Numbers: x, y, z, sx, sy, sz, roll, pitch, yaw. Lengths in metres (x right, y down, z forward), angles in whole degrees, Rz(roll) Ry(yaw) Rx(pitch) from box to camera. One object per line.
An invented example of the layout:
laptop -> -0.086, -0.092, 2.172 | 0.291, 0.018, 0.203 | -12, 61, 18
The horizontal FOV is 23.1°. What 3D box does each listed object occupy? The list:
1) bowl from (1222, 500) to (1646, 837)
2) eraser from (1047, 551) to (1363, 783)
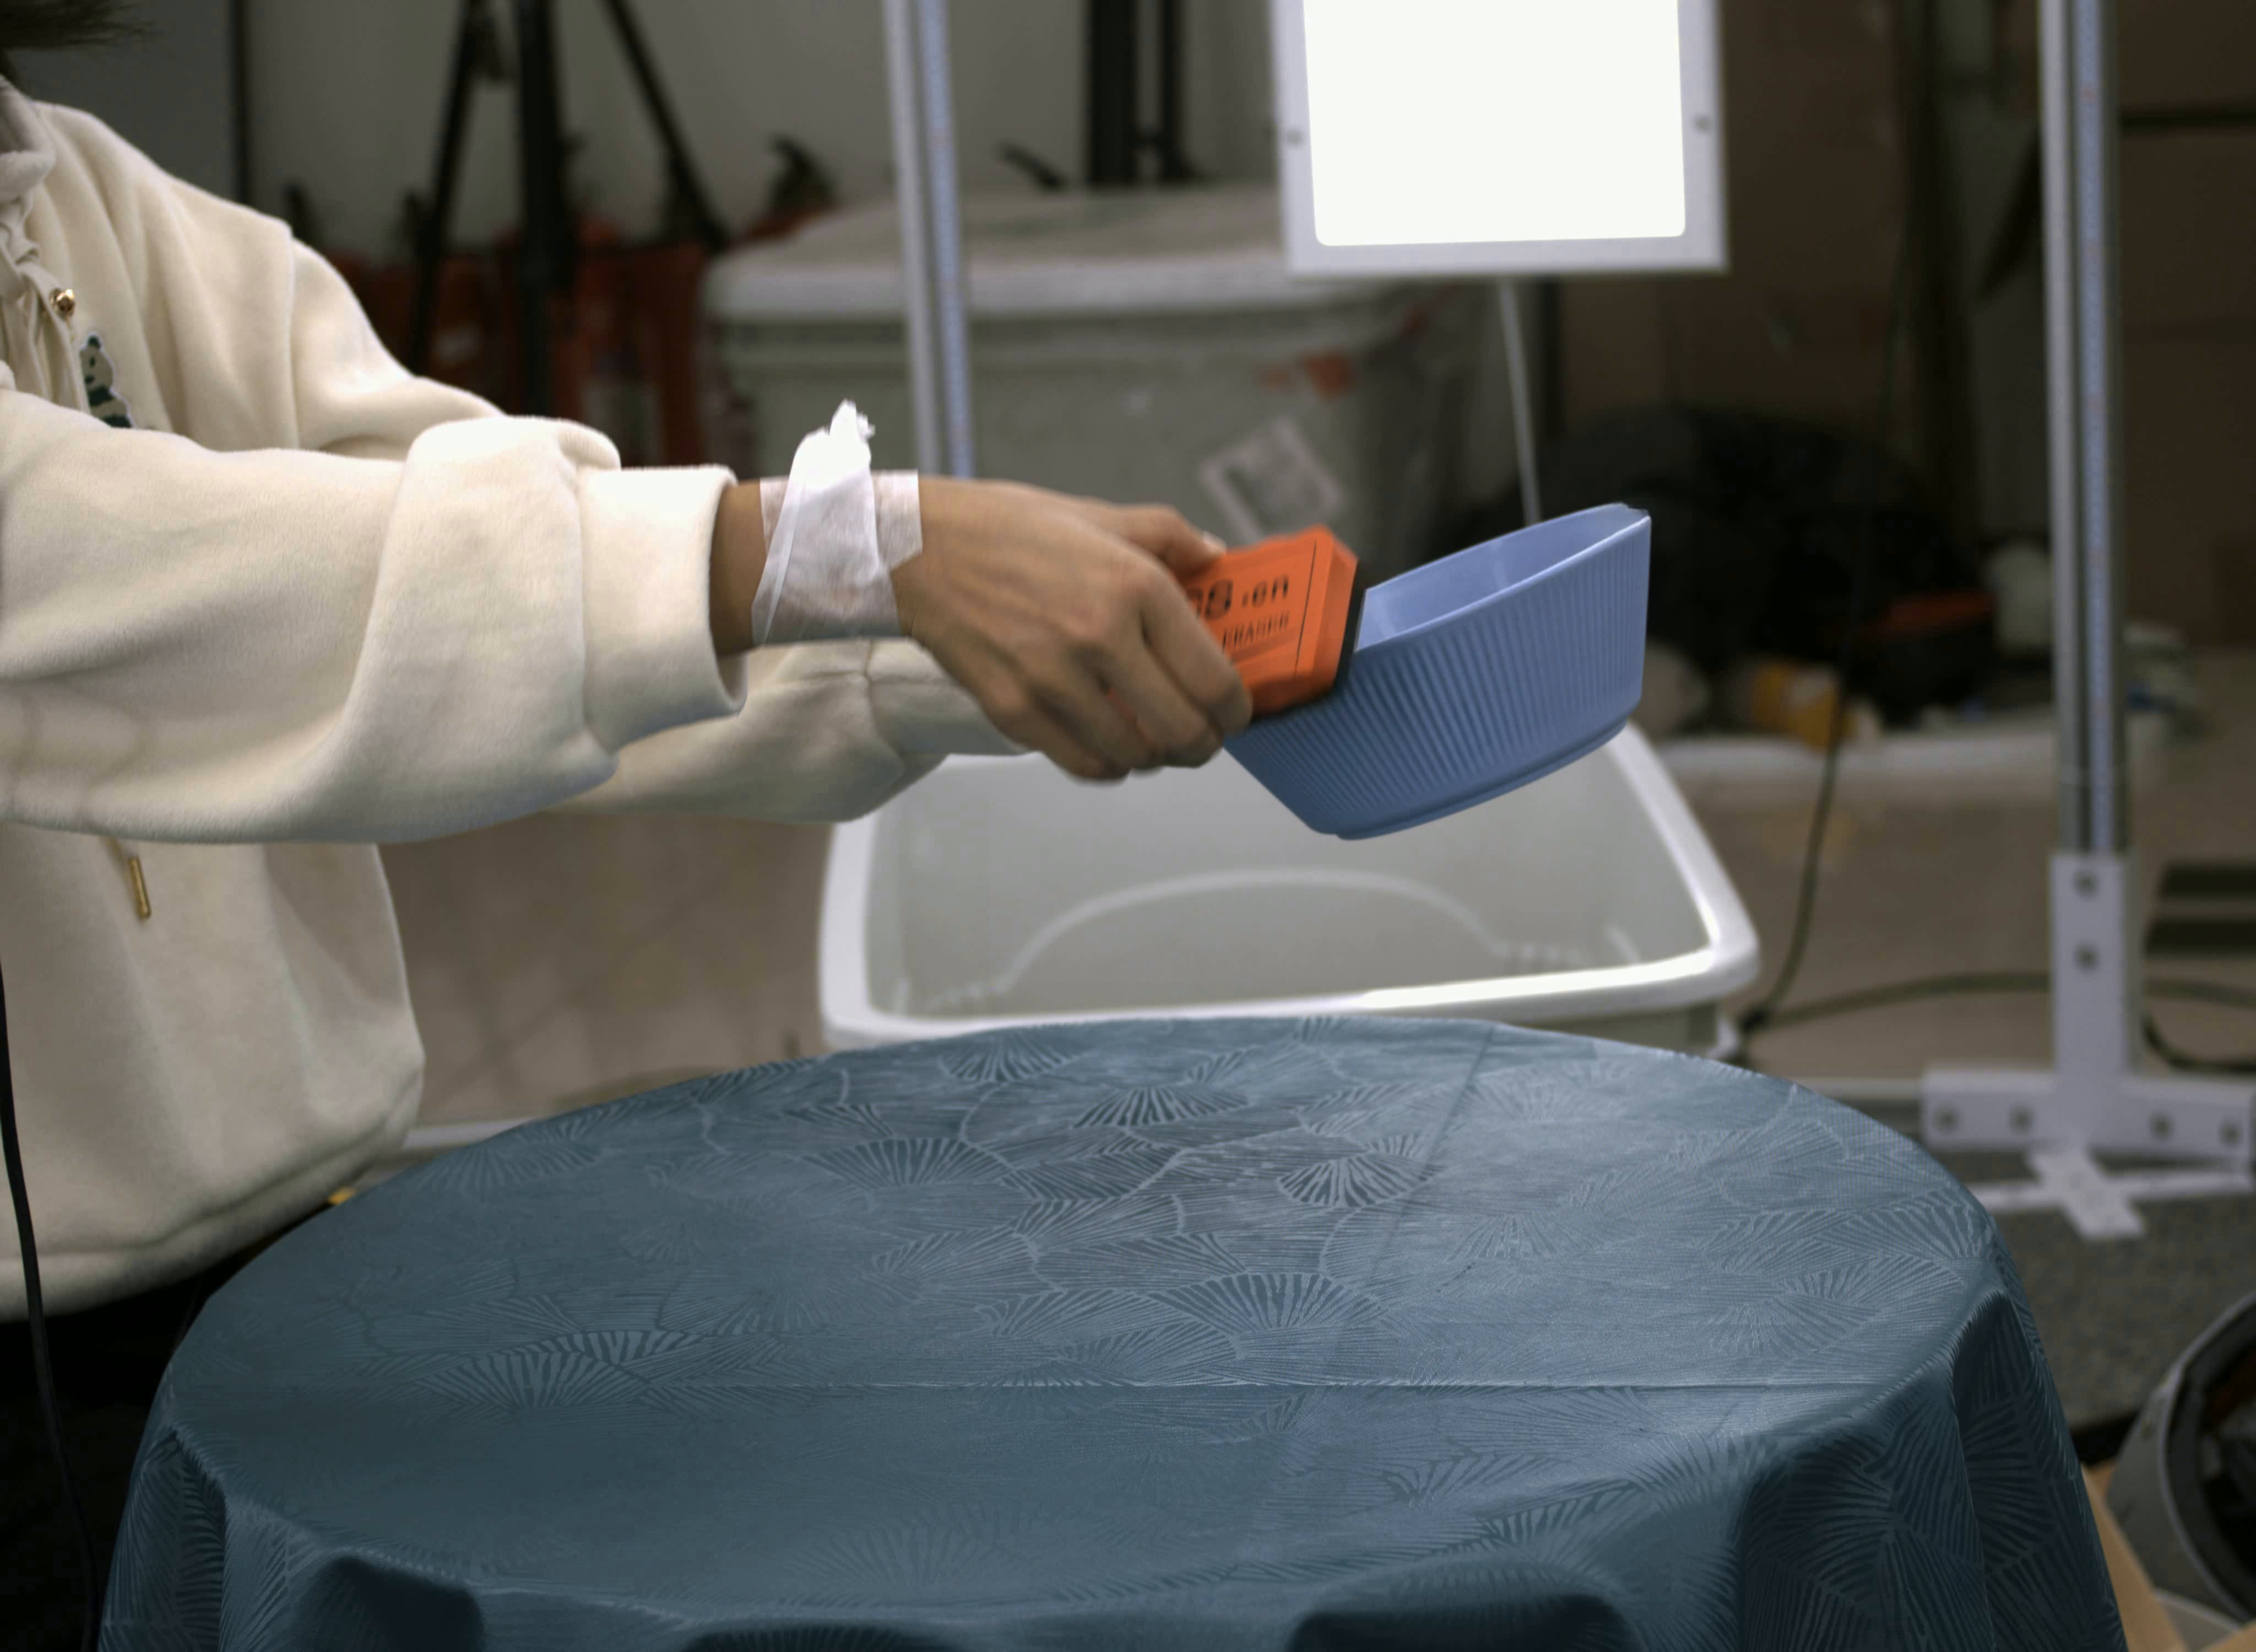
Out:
bowl -> 0.107, -0.049, 1.880 | 0.176, 0.070, 0.176 | -23, 7, 1
eraser -> 0.025, -0.051, 1.783 | 0.110, 0.058, 0.022 | -13, -35, 38
